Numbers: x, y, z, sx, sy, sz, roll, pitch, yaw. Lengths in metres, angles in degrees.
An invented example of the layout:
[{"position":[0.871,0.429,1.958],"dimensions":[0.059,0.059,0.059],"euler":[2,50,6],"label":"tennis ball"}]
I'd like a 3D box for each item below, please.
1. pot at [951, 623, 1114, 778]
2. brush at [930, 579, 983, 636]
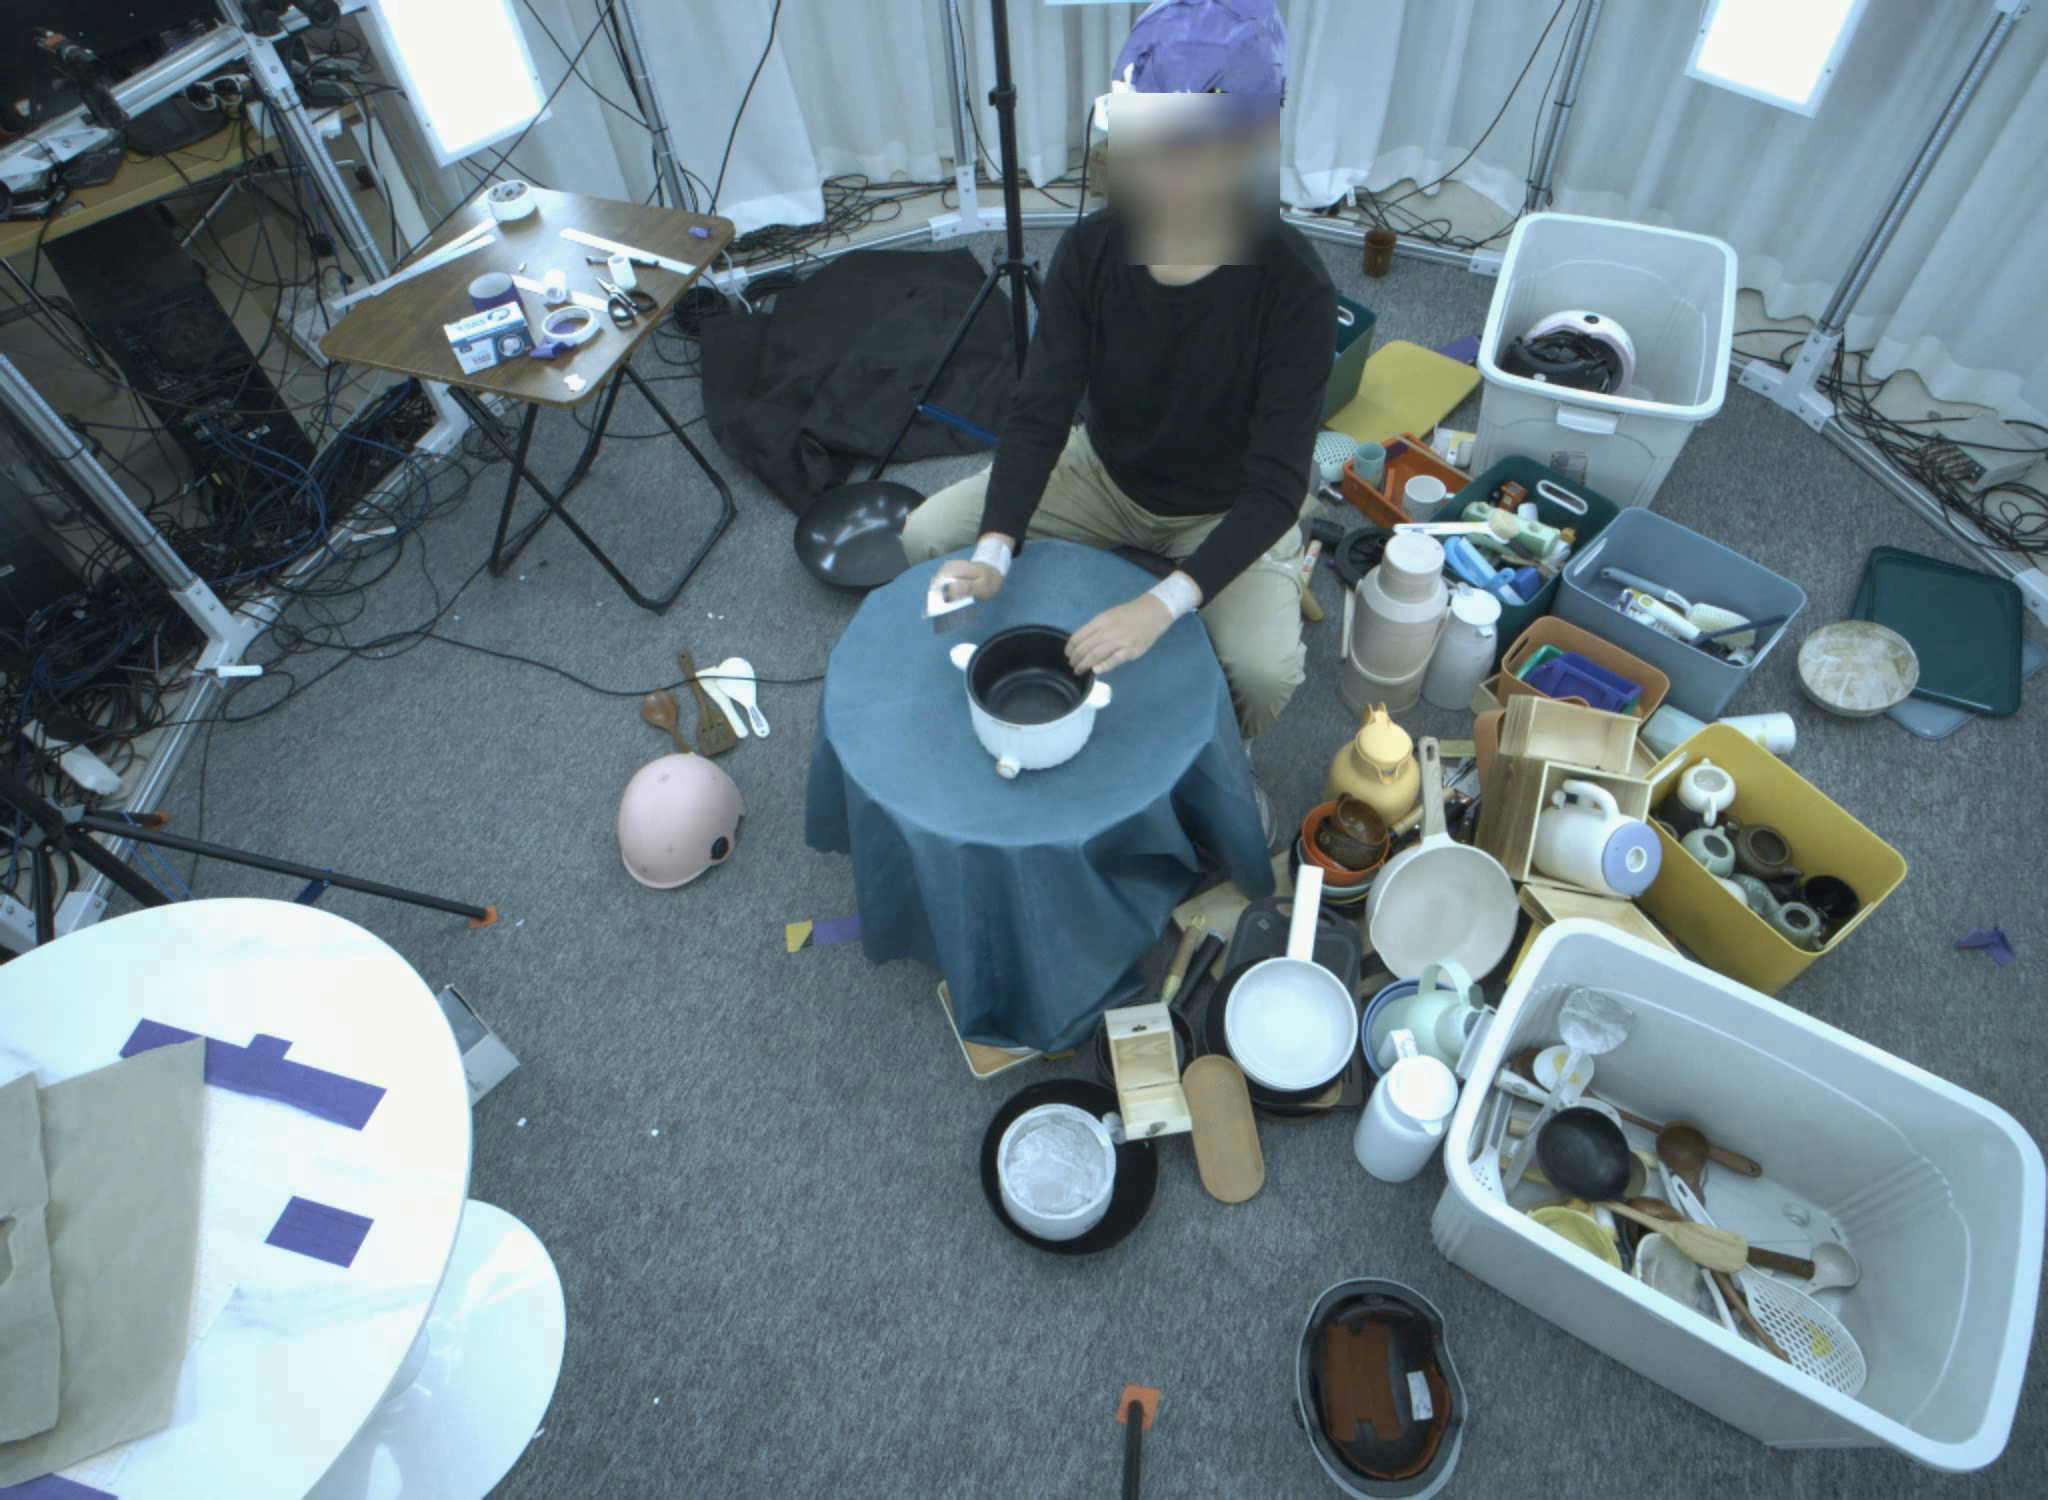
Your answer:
[{"position":[0.012,-0.065,1.748],"dimensions":[0.238,0.144,0.190],"euler":[16,54,15],"label":"pot"},{"position":[-0.103,-0.209,1.755],"dimensions":[0.049,0.073,0.100],"euler":[-12,10,26],"label":"brush"}]
